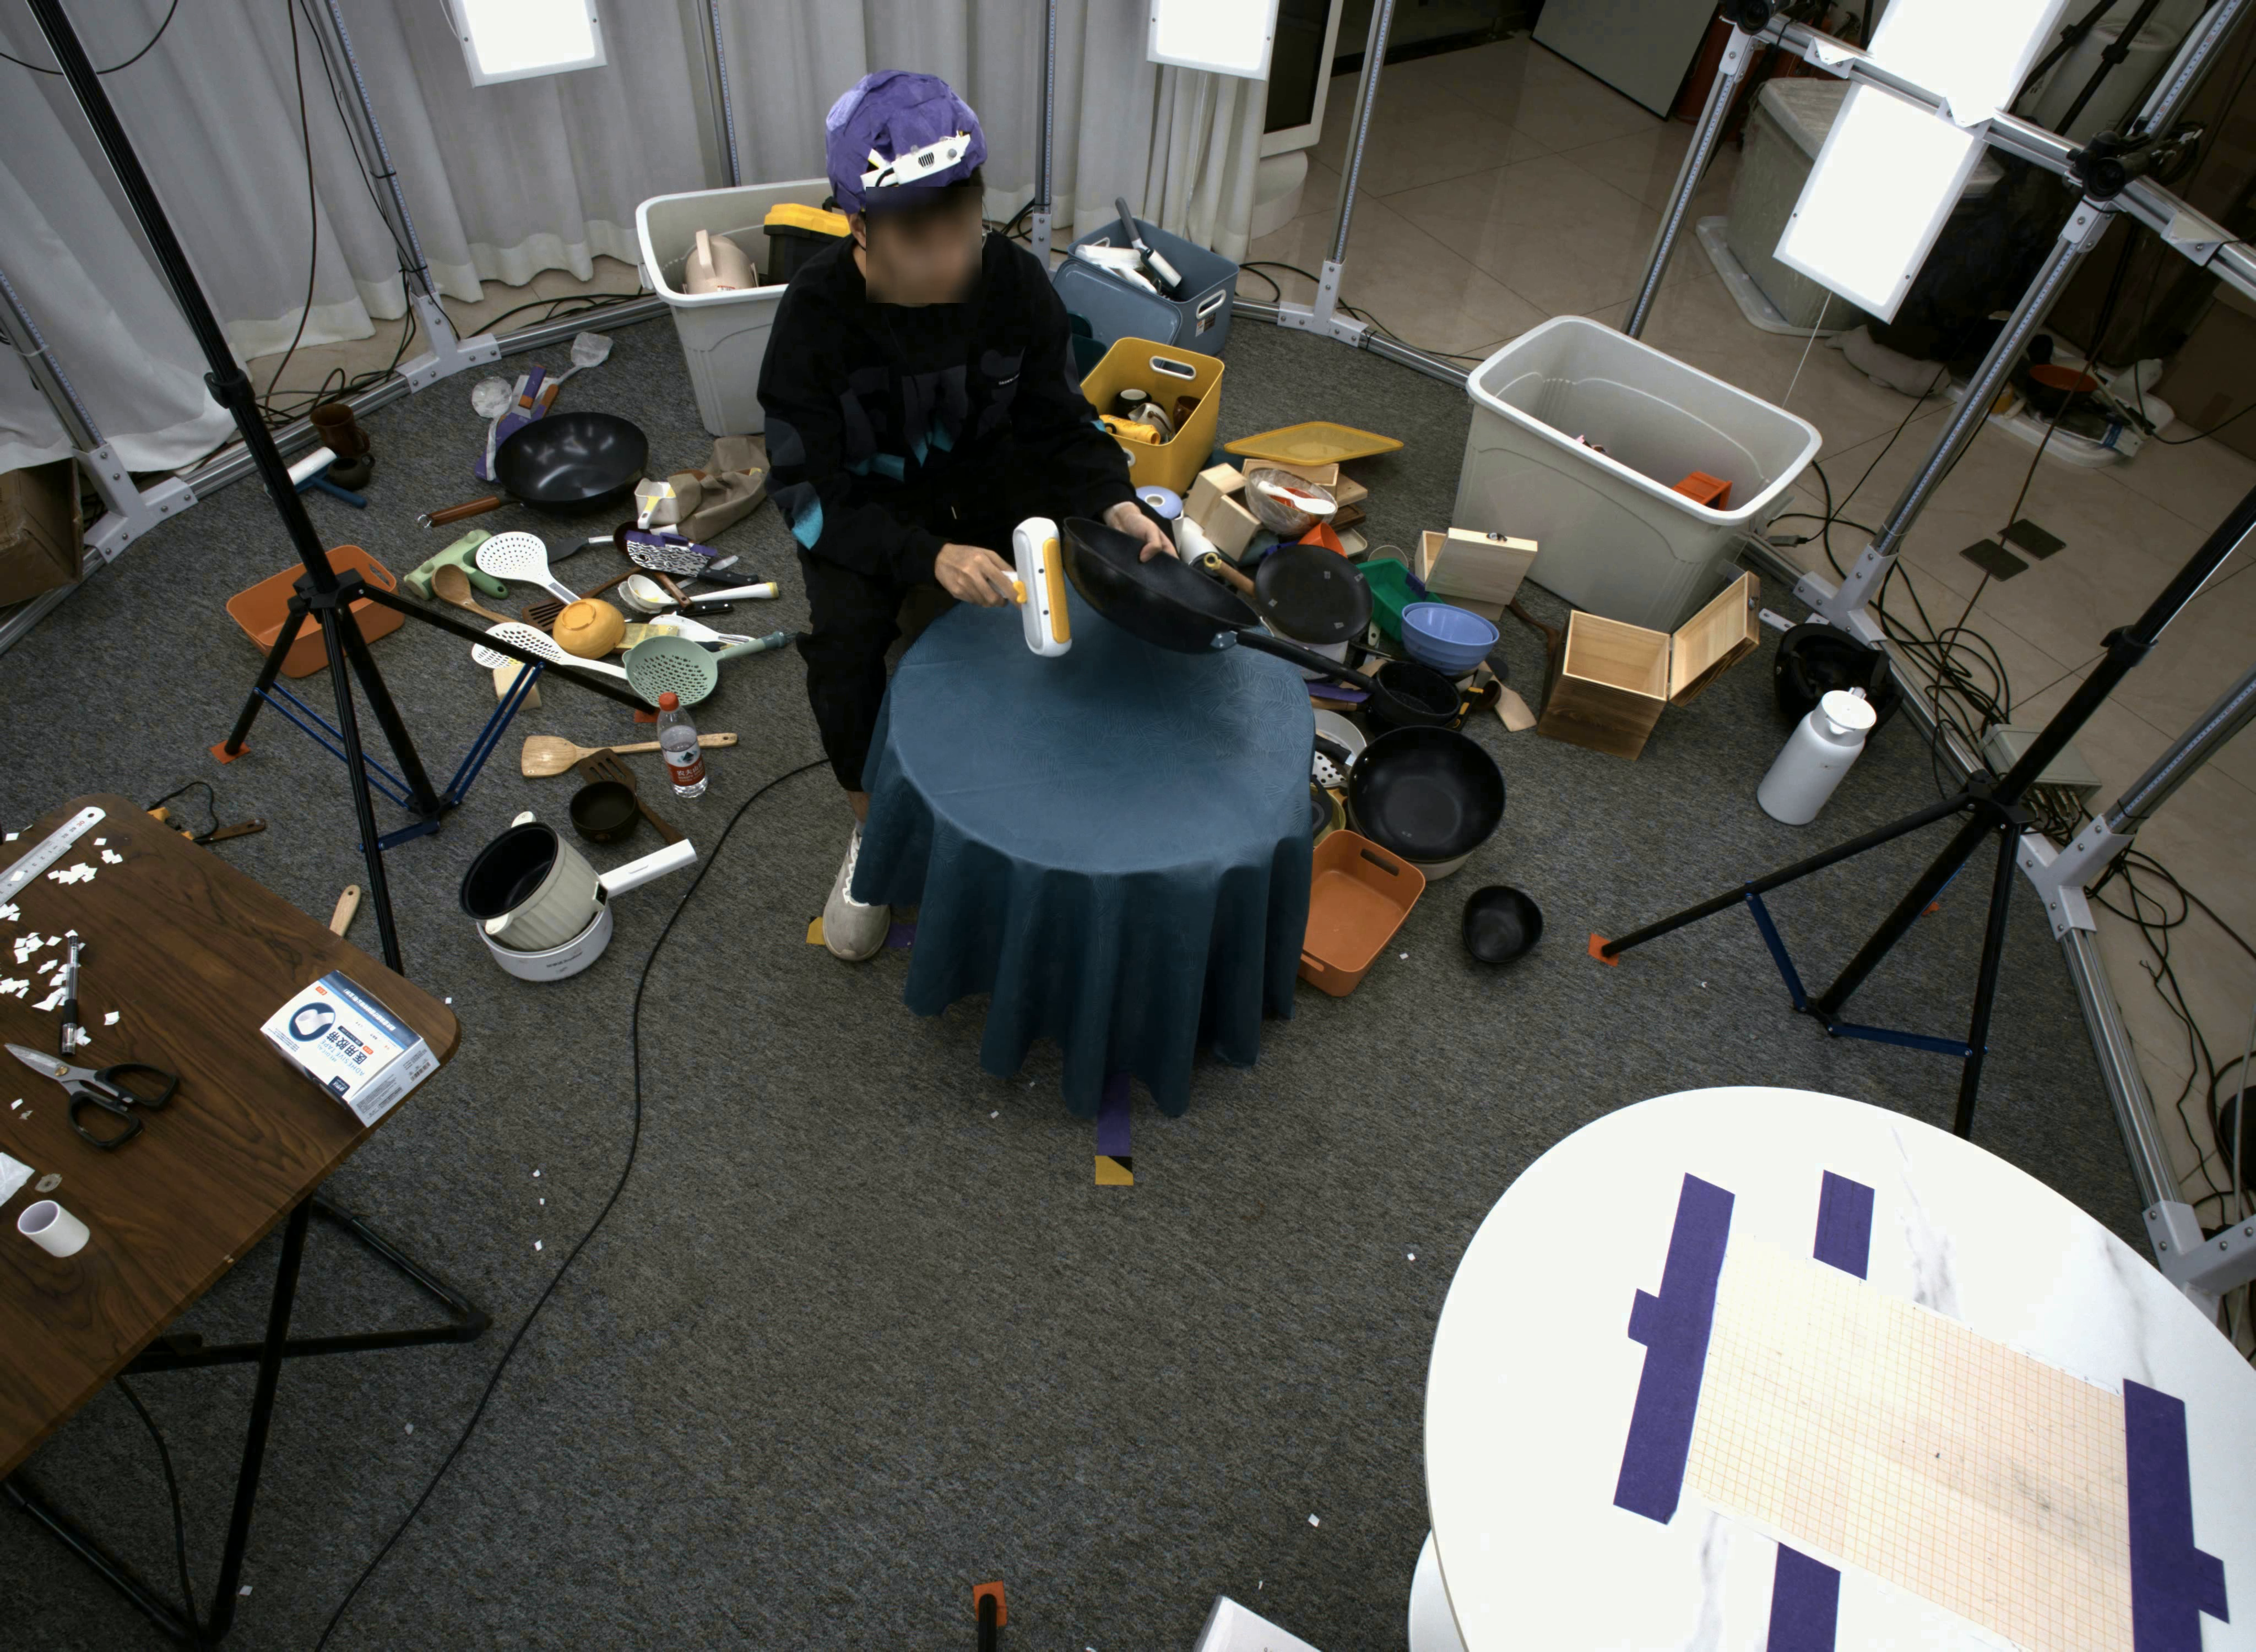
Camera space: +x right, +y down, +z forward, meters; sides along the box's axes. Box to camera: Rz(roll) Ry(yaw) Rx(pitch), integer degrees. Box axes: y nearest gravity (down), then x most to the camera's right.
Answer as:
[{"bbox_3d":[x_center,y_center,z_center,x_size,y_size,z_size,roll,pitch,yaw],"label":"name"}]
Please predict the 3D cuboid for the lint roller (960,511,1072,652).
[{"bbox_3d":[-0.162,-0.341,1.810,0.074,0.190,0.194,-27,25,-33],"label":"lint roller"}]

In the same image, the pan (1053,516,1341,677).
[{"bbox_3d":[0.084,-0.283,1.740,0.485,0.110,0.309,40,25,31],"label":"pan"}]
